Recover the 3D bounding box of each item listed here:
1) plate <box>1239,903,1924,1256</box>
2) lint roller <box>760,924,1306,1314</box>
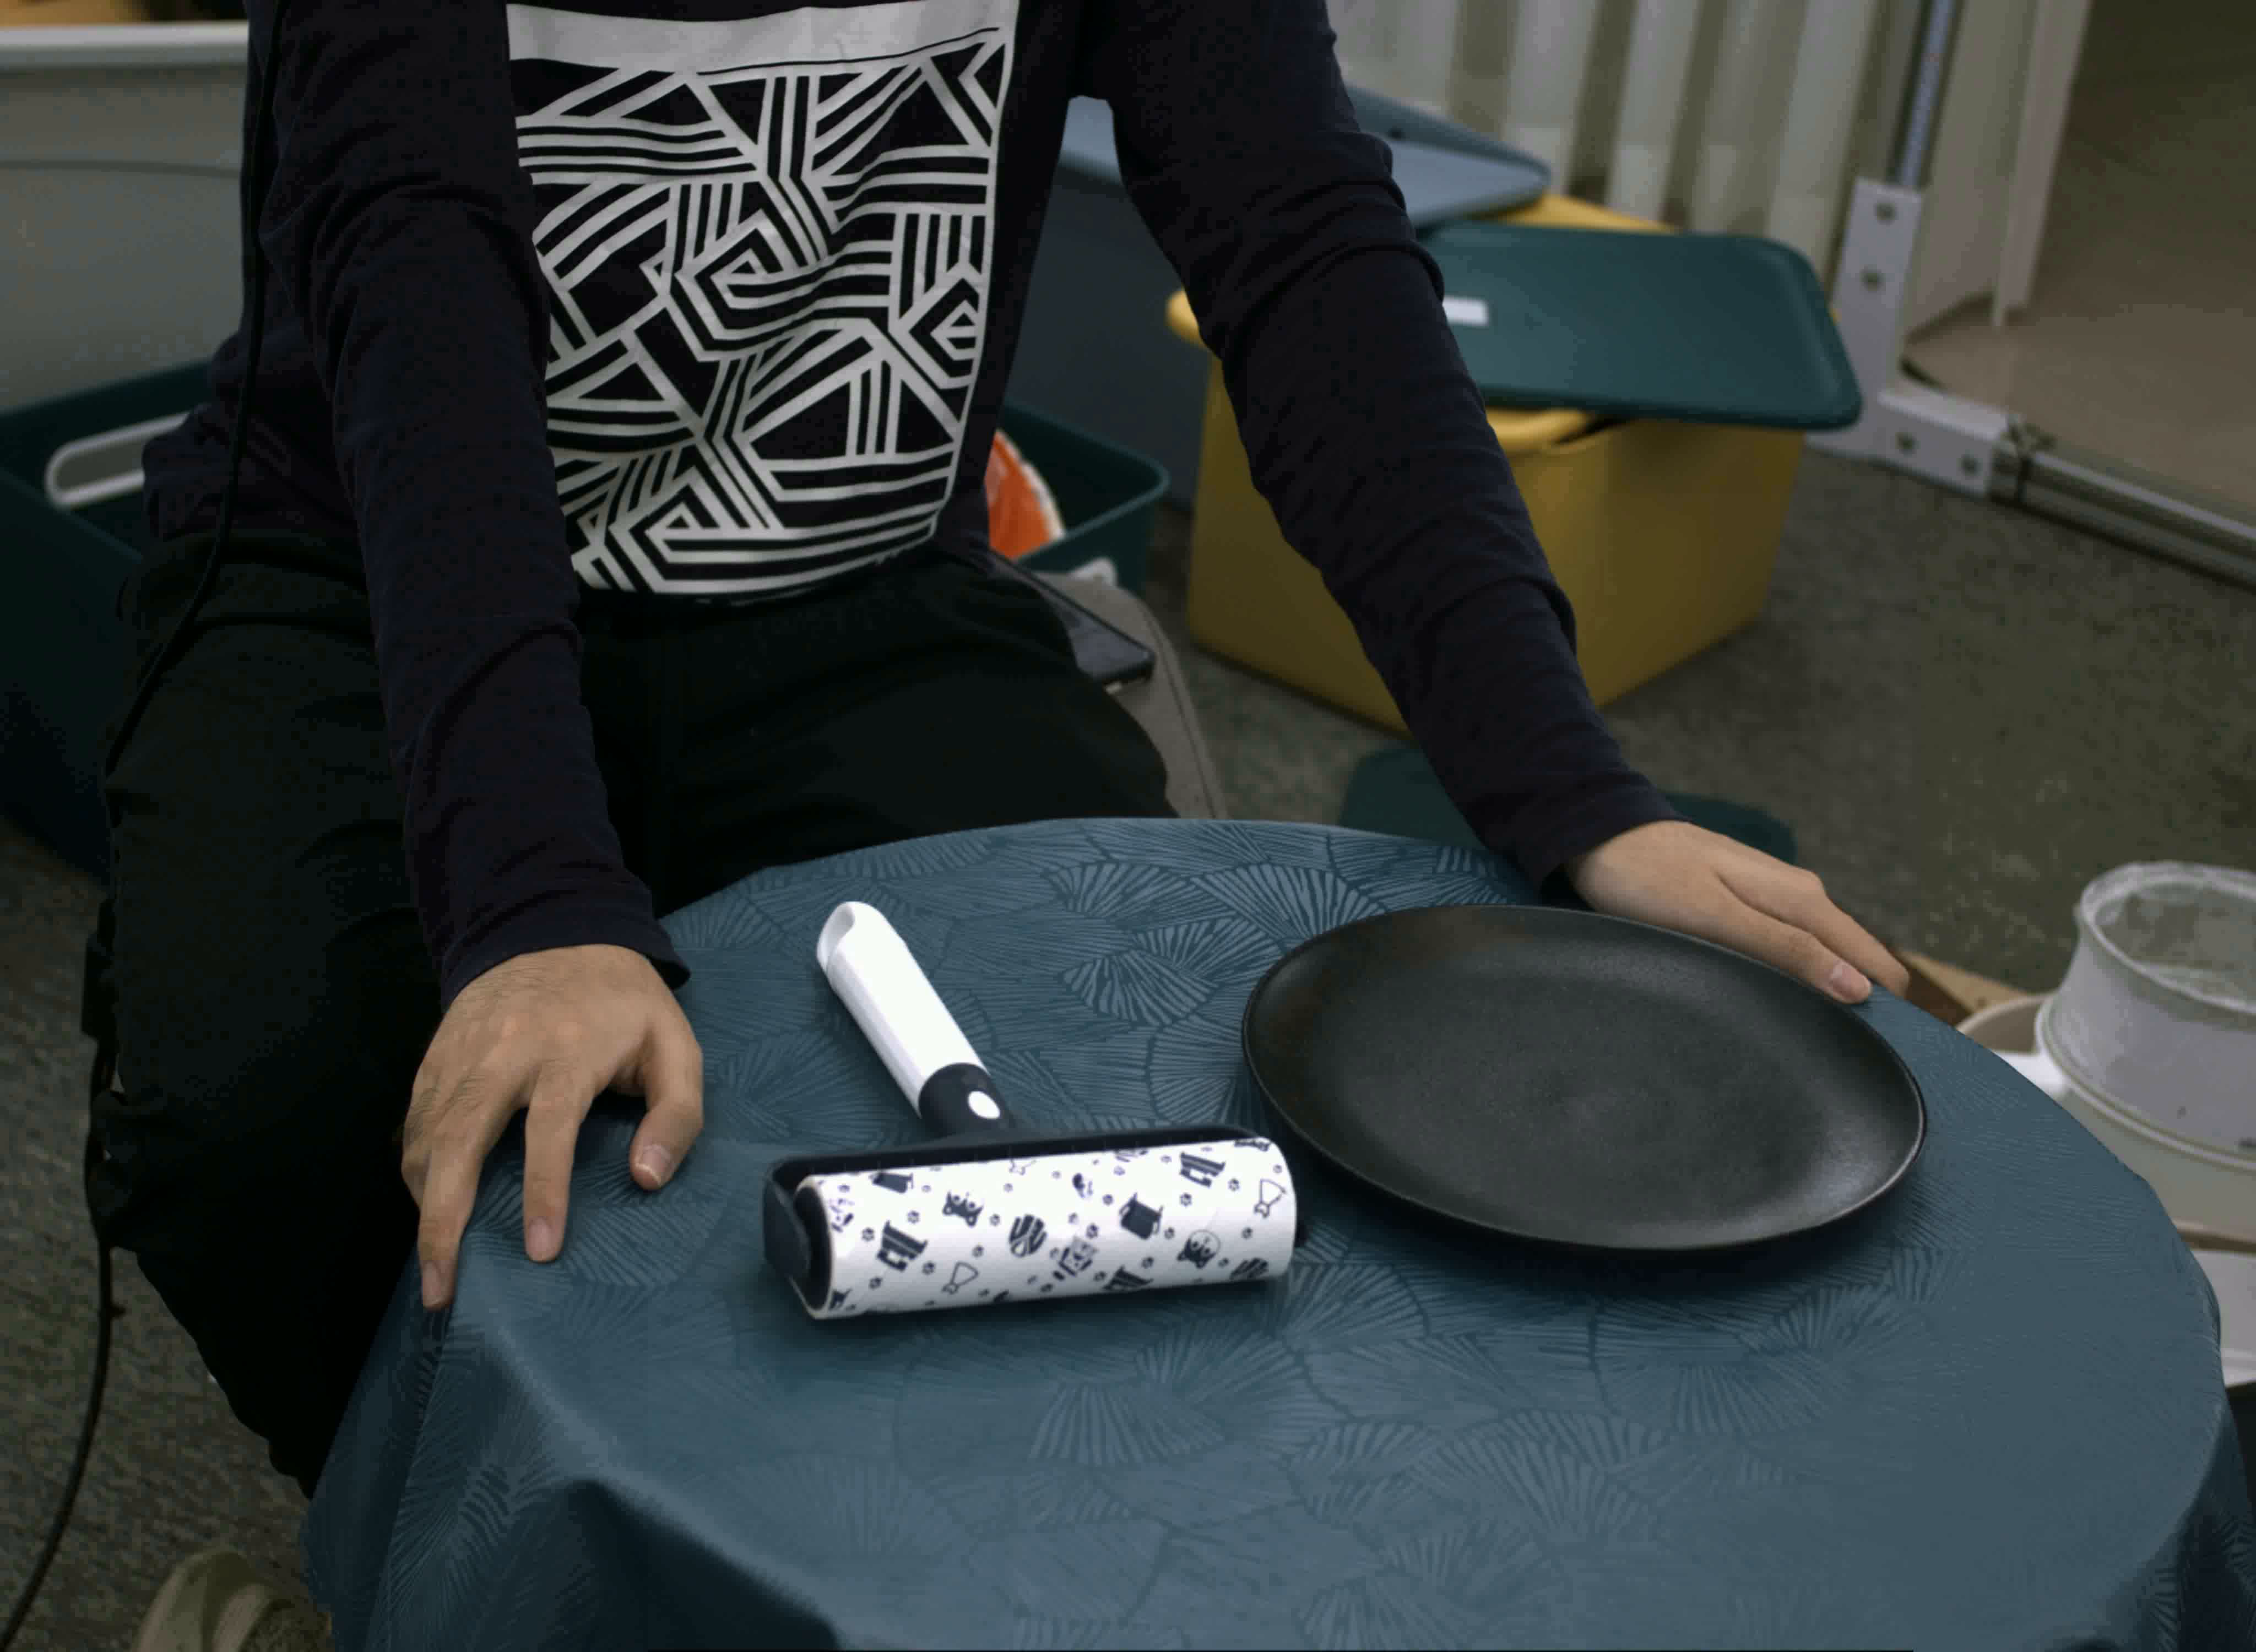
[{"bbox_3d":[0.158,0.093,1.877,0.243,0.023,0.246,5,27,-3],"label":"plate"},{"bbox_3d":[-0.063,0.087,1.819,0.175,0.050,0.249,-5,26,-20],"label":"lint roller"}]
